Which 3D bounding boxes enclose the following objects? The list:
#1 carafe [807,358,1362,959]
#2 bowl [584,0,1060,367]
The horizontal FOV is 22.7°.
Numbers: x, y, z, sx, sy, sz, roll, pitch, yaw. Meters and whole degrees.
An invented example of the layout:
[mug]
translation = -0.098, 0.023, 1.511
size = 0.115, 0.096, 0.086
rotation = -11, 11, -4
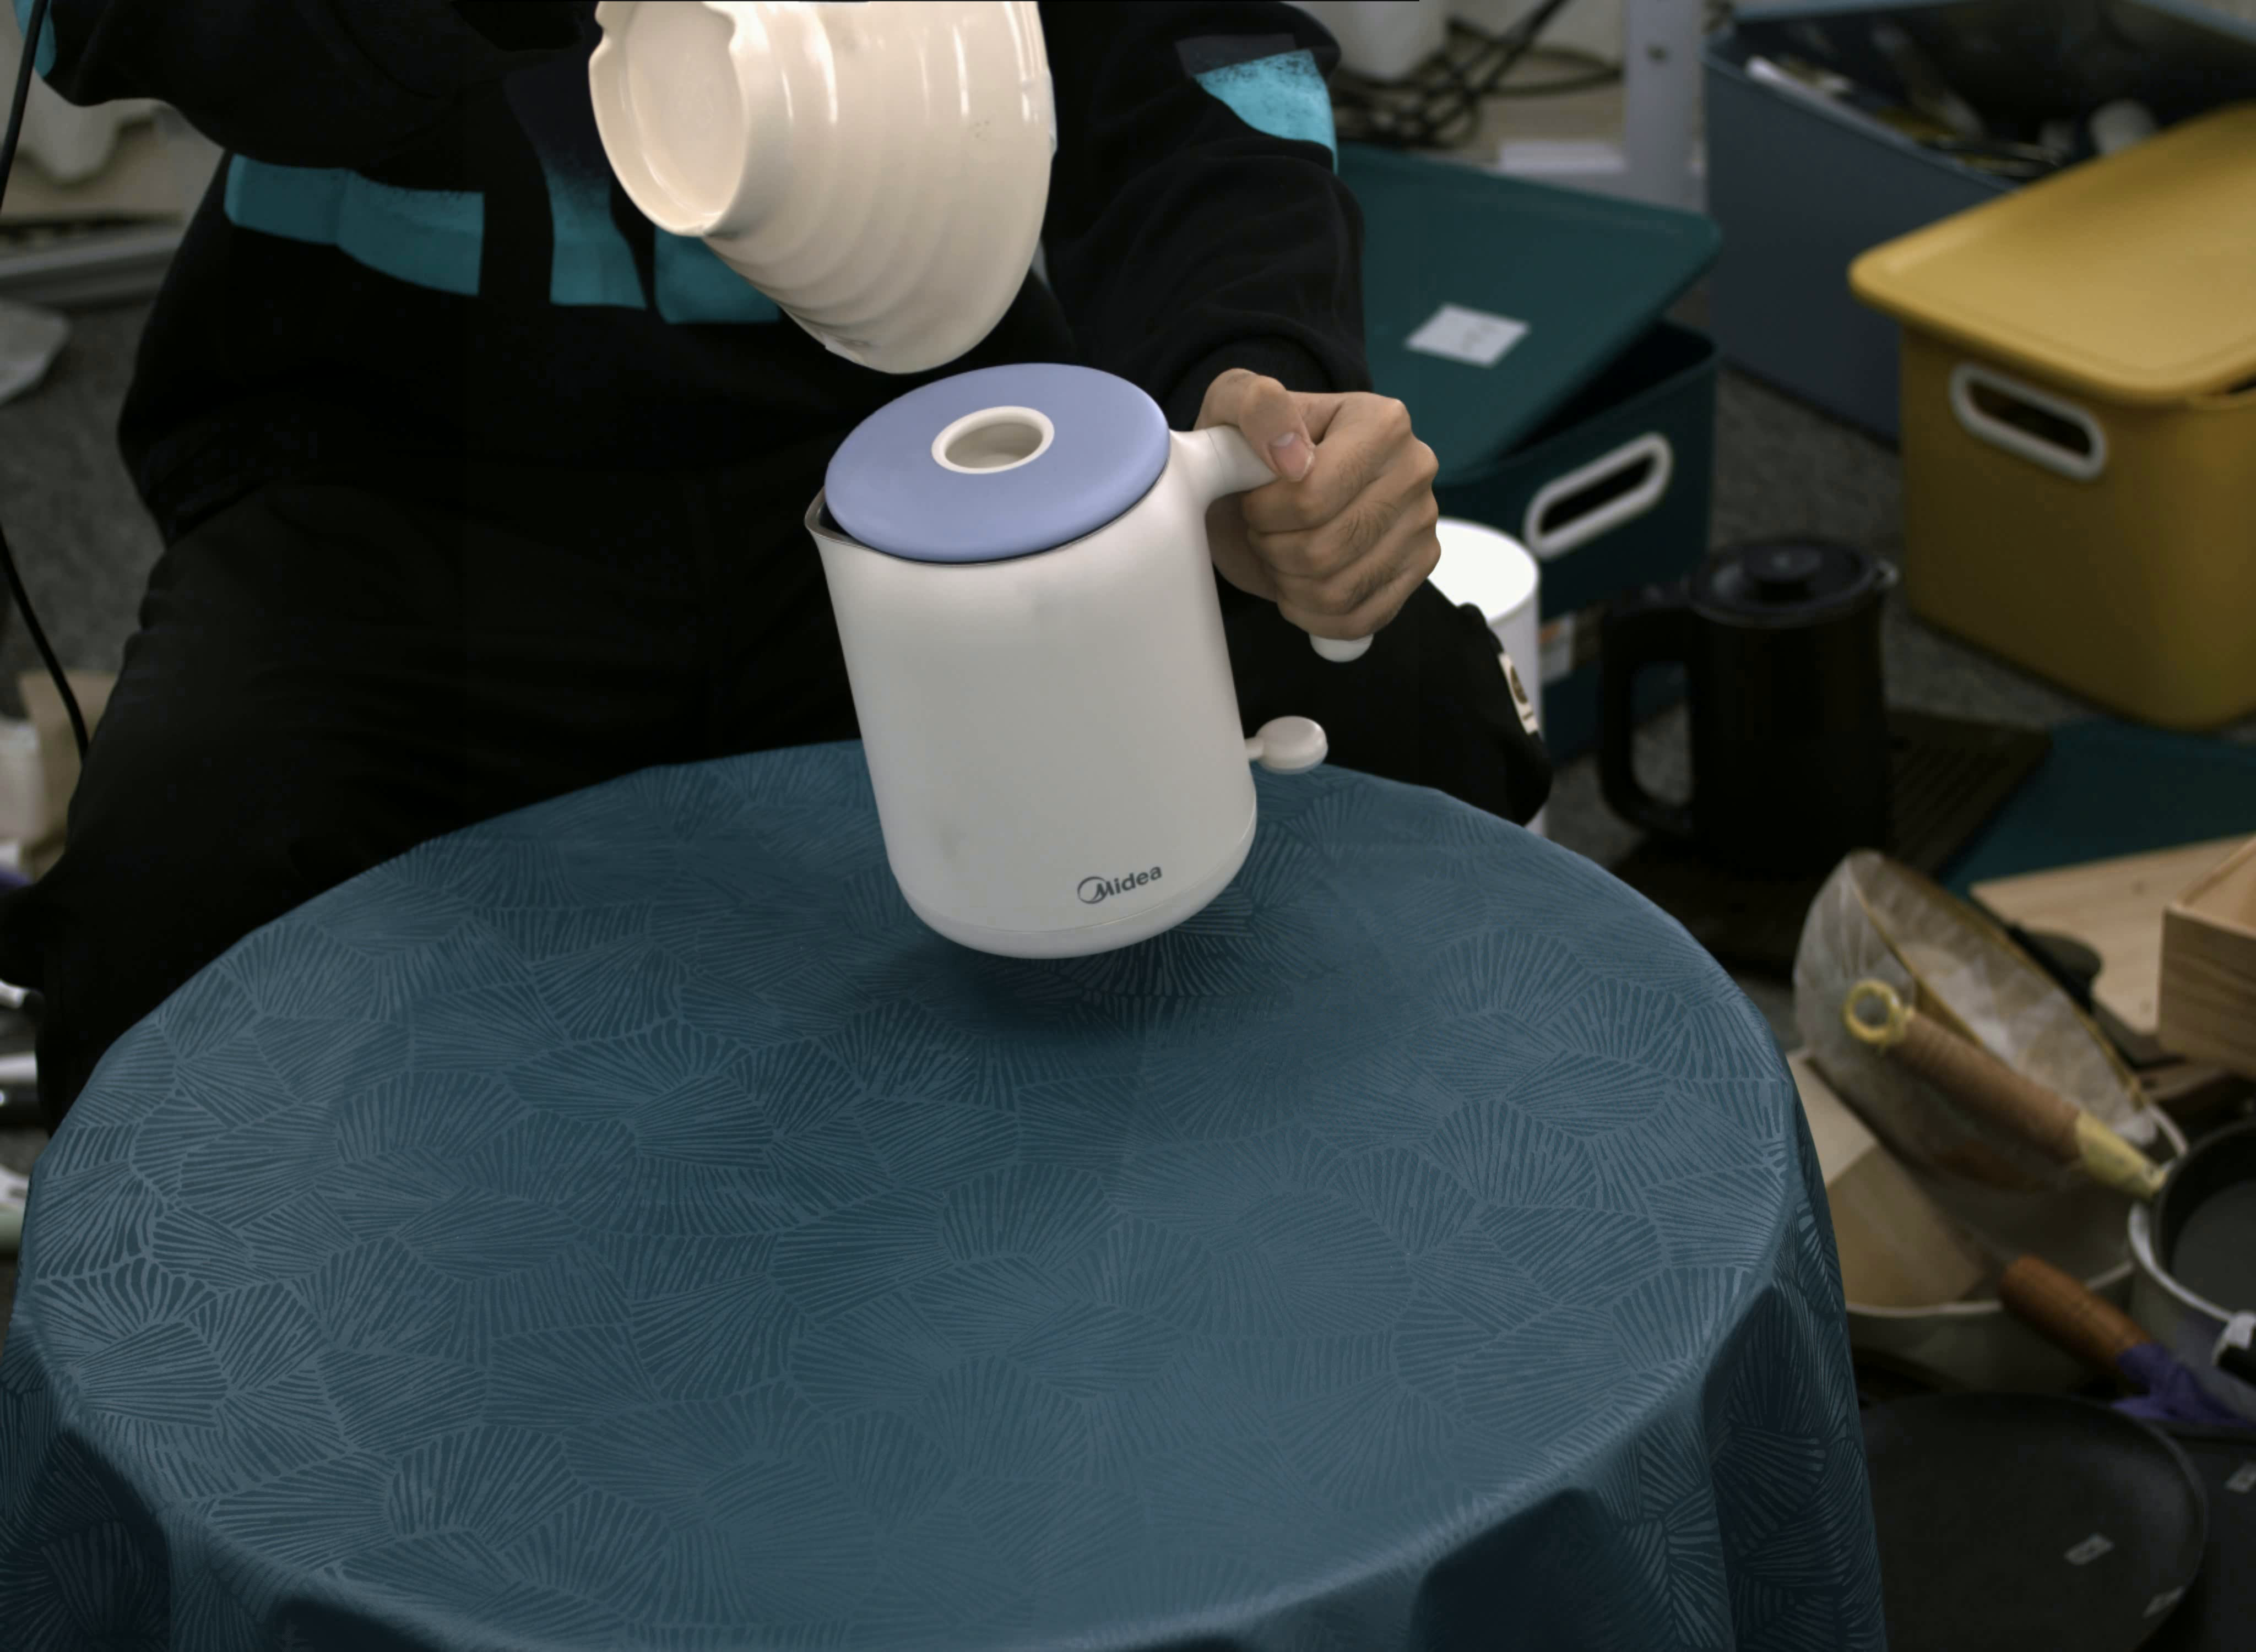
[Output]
[carafe]
translation = -0.009, -0.065, 1.941
size = 0.191, 0.180, 0.133
rotation = -16, 35, -13
[bowl]
translation = -0.116, -0.239, 1.792
size = 0.078, 0.202, 0.204
rotation = -18, 30, -40
